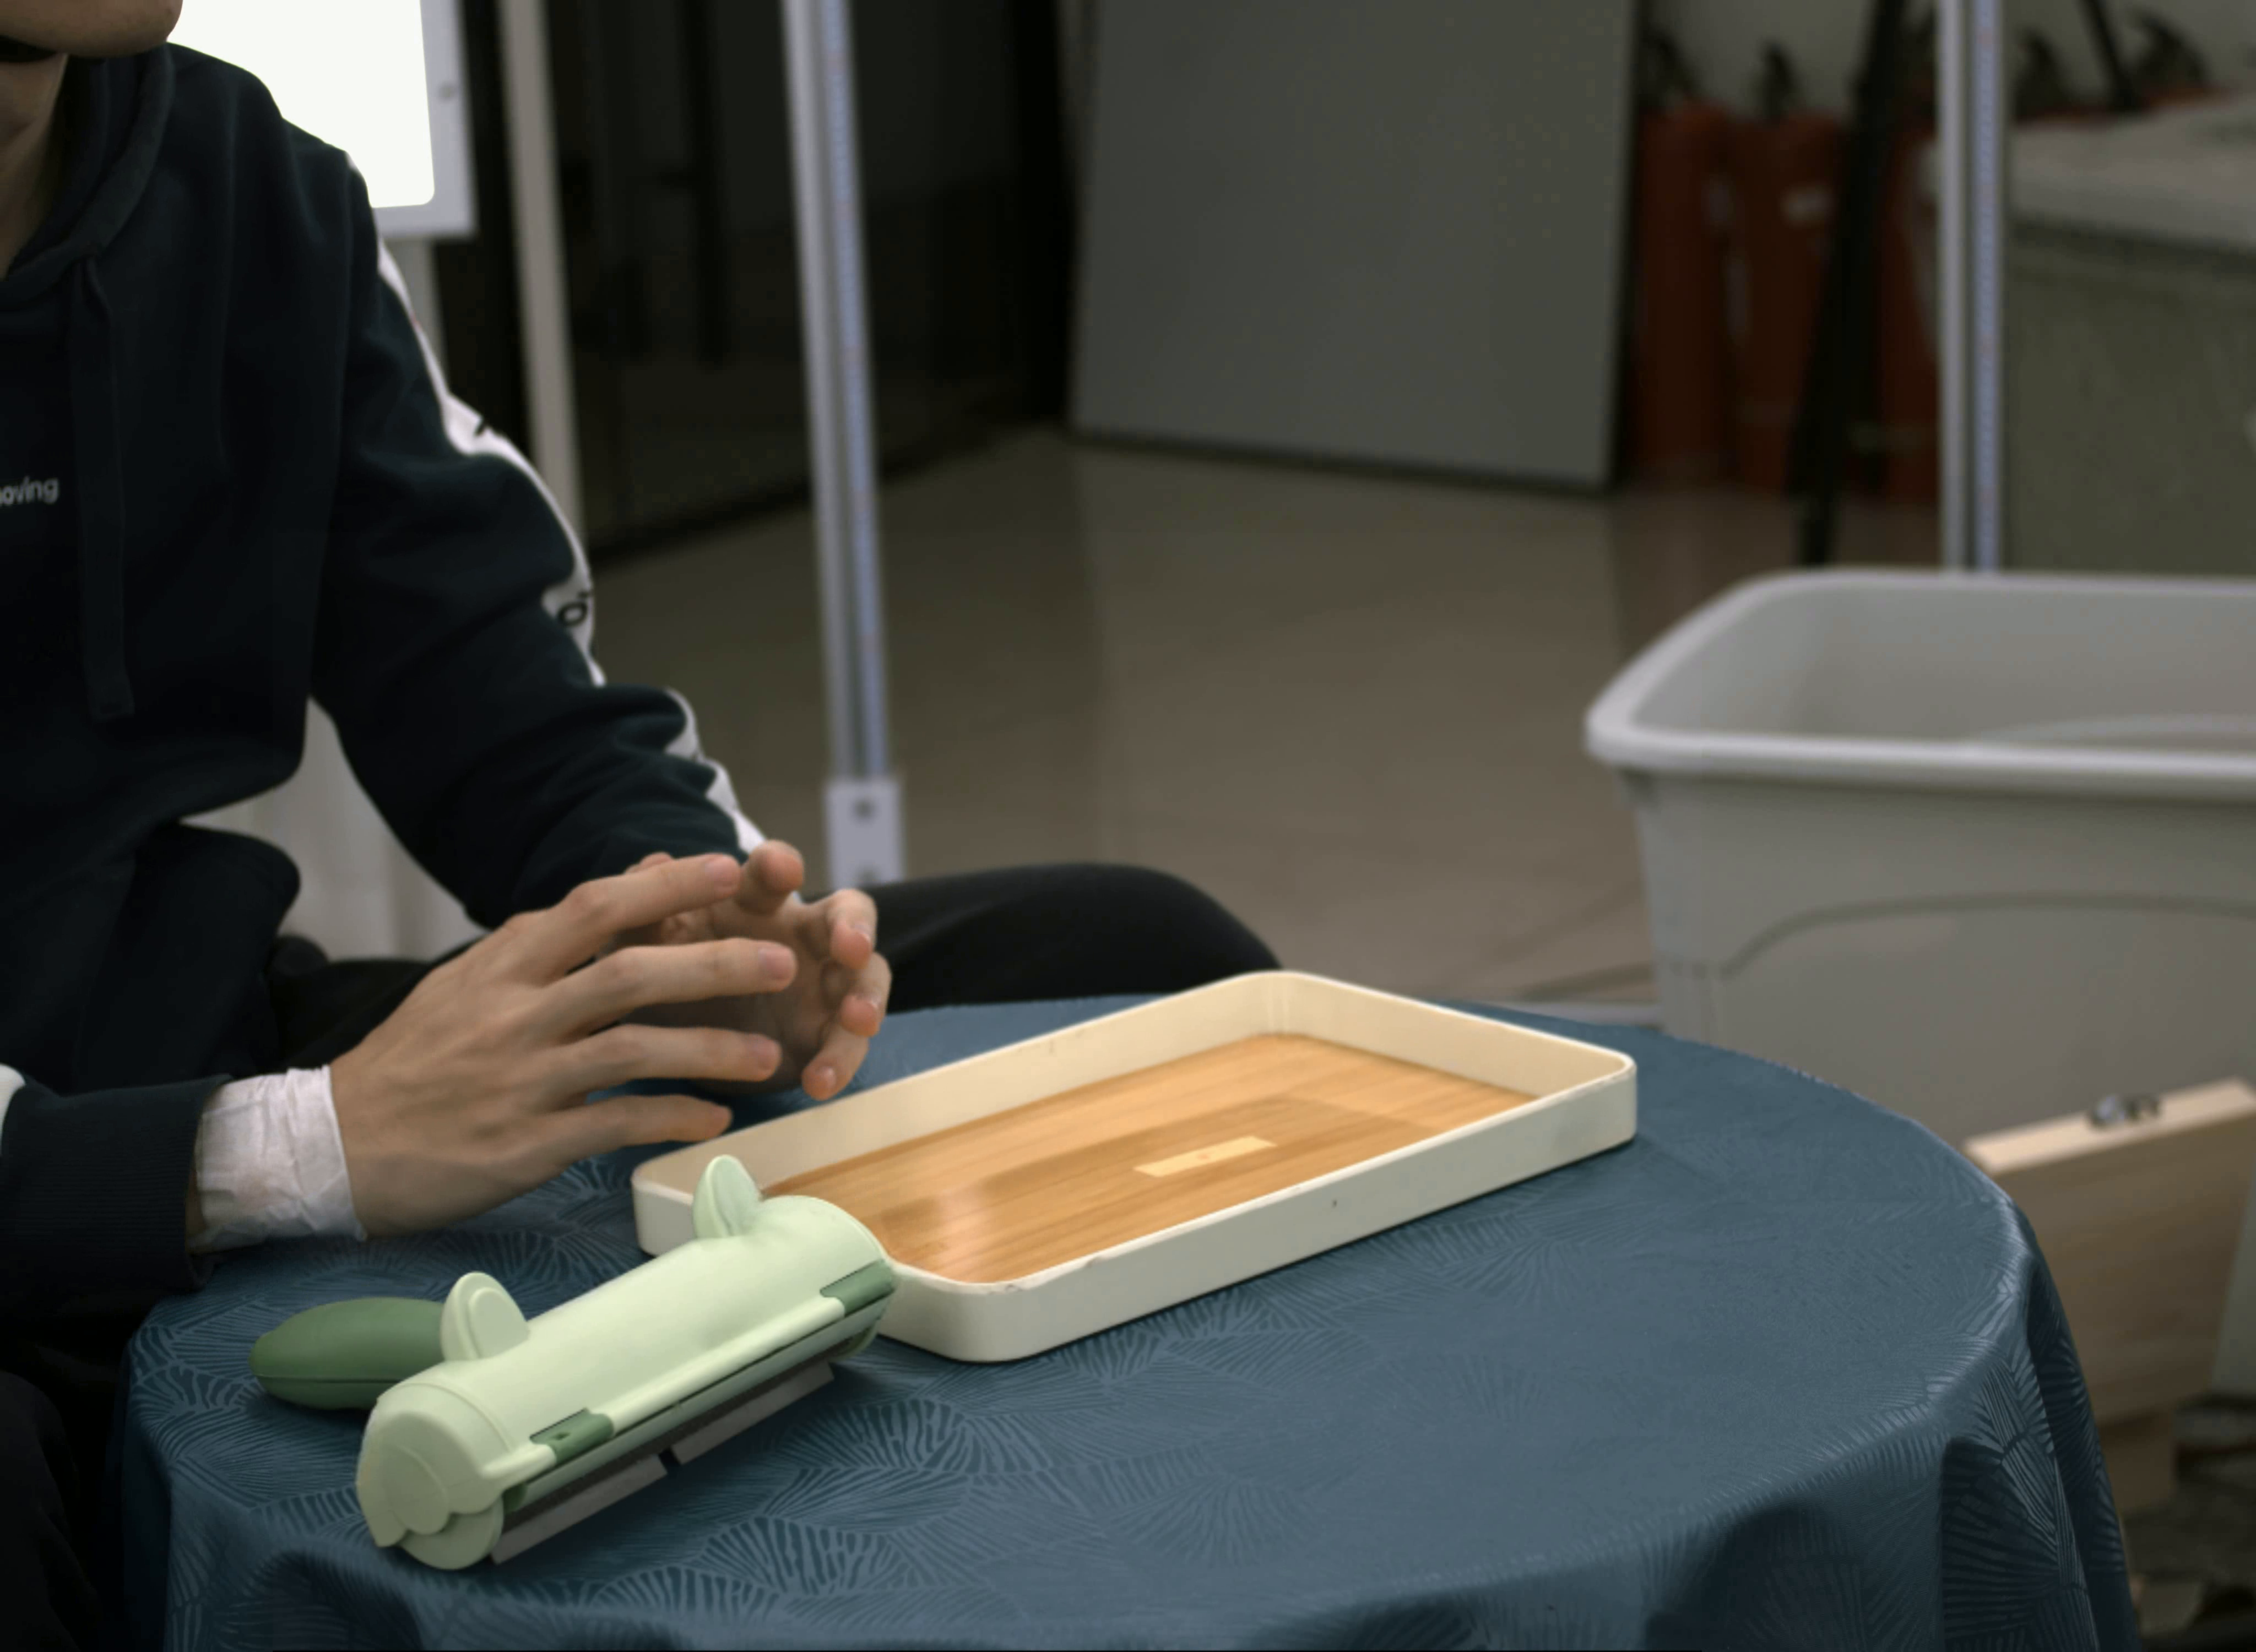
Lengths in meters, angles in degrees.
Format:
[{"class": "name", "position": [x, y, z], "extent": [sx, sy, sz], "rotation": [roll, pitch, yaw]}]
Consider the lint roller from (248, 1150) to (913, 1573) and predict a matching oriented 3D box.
[{"class": "lint roller", "position": [-0.187, 0.142, 1.578], "extent": [0.184, 0.083, 0.195], "rotation": [10, 19, 33]}]

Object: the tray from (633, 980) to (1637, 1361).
[{"class": "tray", "position": [0.006, 0.108, 1.766], "extent": [0.294, 0.028, 0.193], "rotation": [-15, 17, -38]}]
